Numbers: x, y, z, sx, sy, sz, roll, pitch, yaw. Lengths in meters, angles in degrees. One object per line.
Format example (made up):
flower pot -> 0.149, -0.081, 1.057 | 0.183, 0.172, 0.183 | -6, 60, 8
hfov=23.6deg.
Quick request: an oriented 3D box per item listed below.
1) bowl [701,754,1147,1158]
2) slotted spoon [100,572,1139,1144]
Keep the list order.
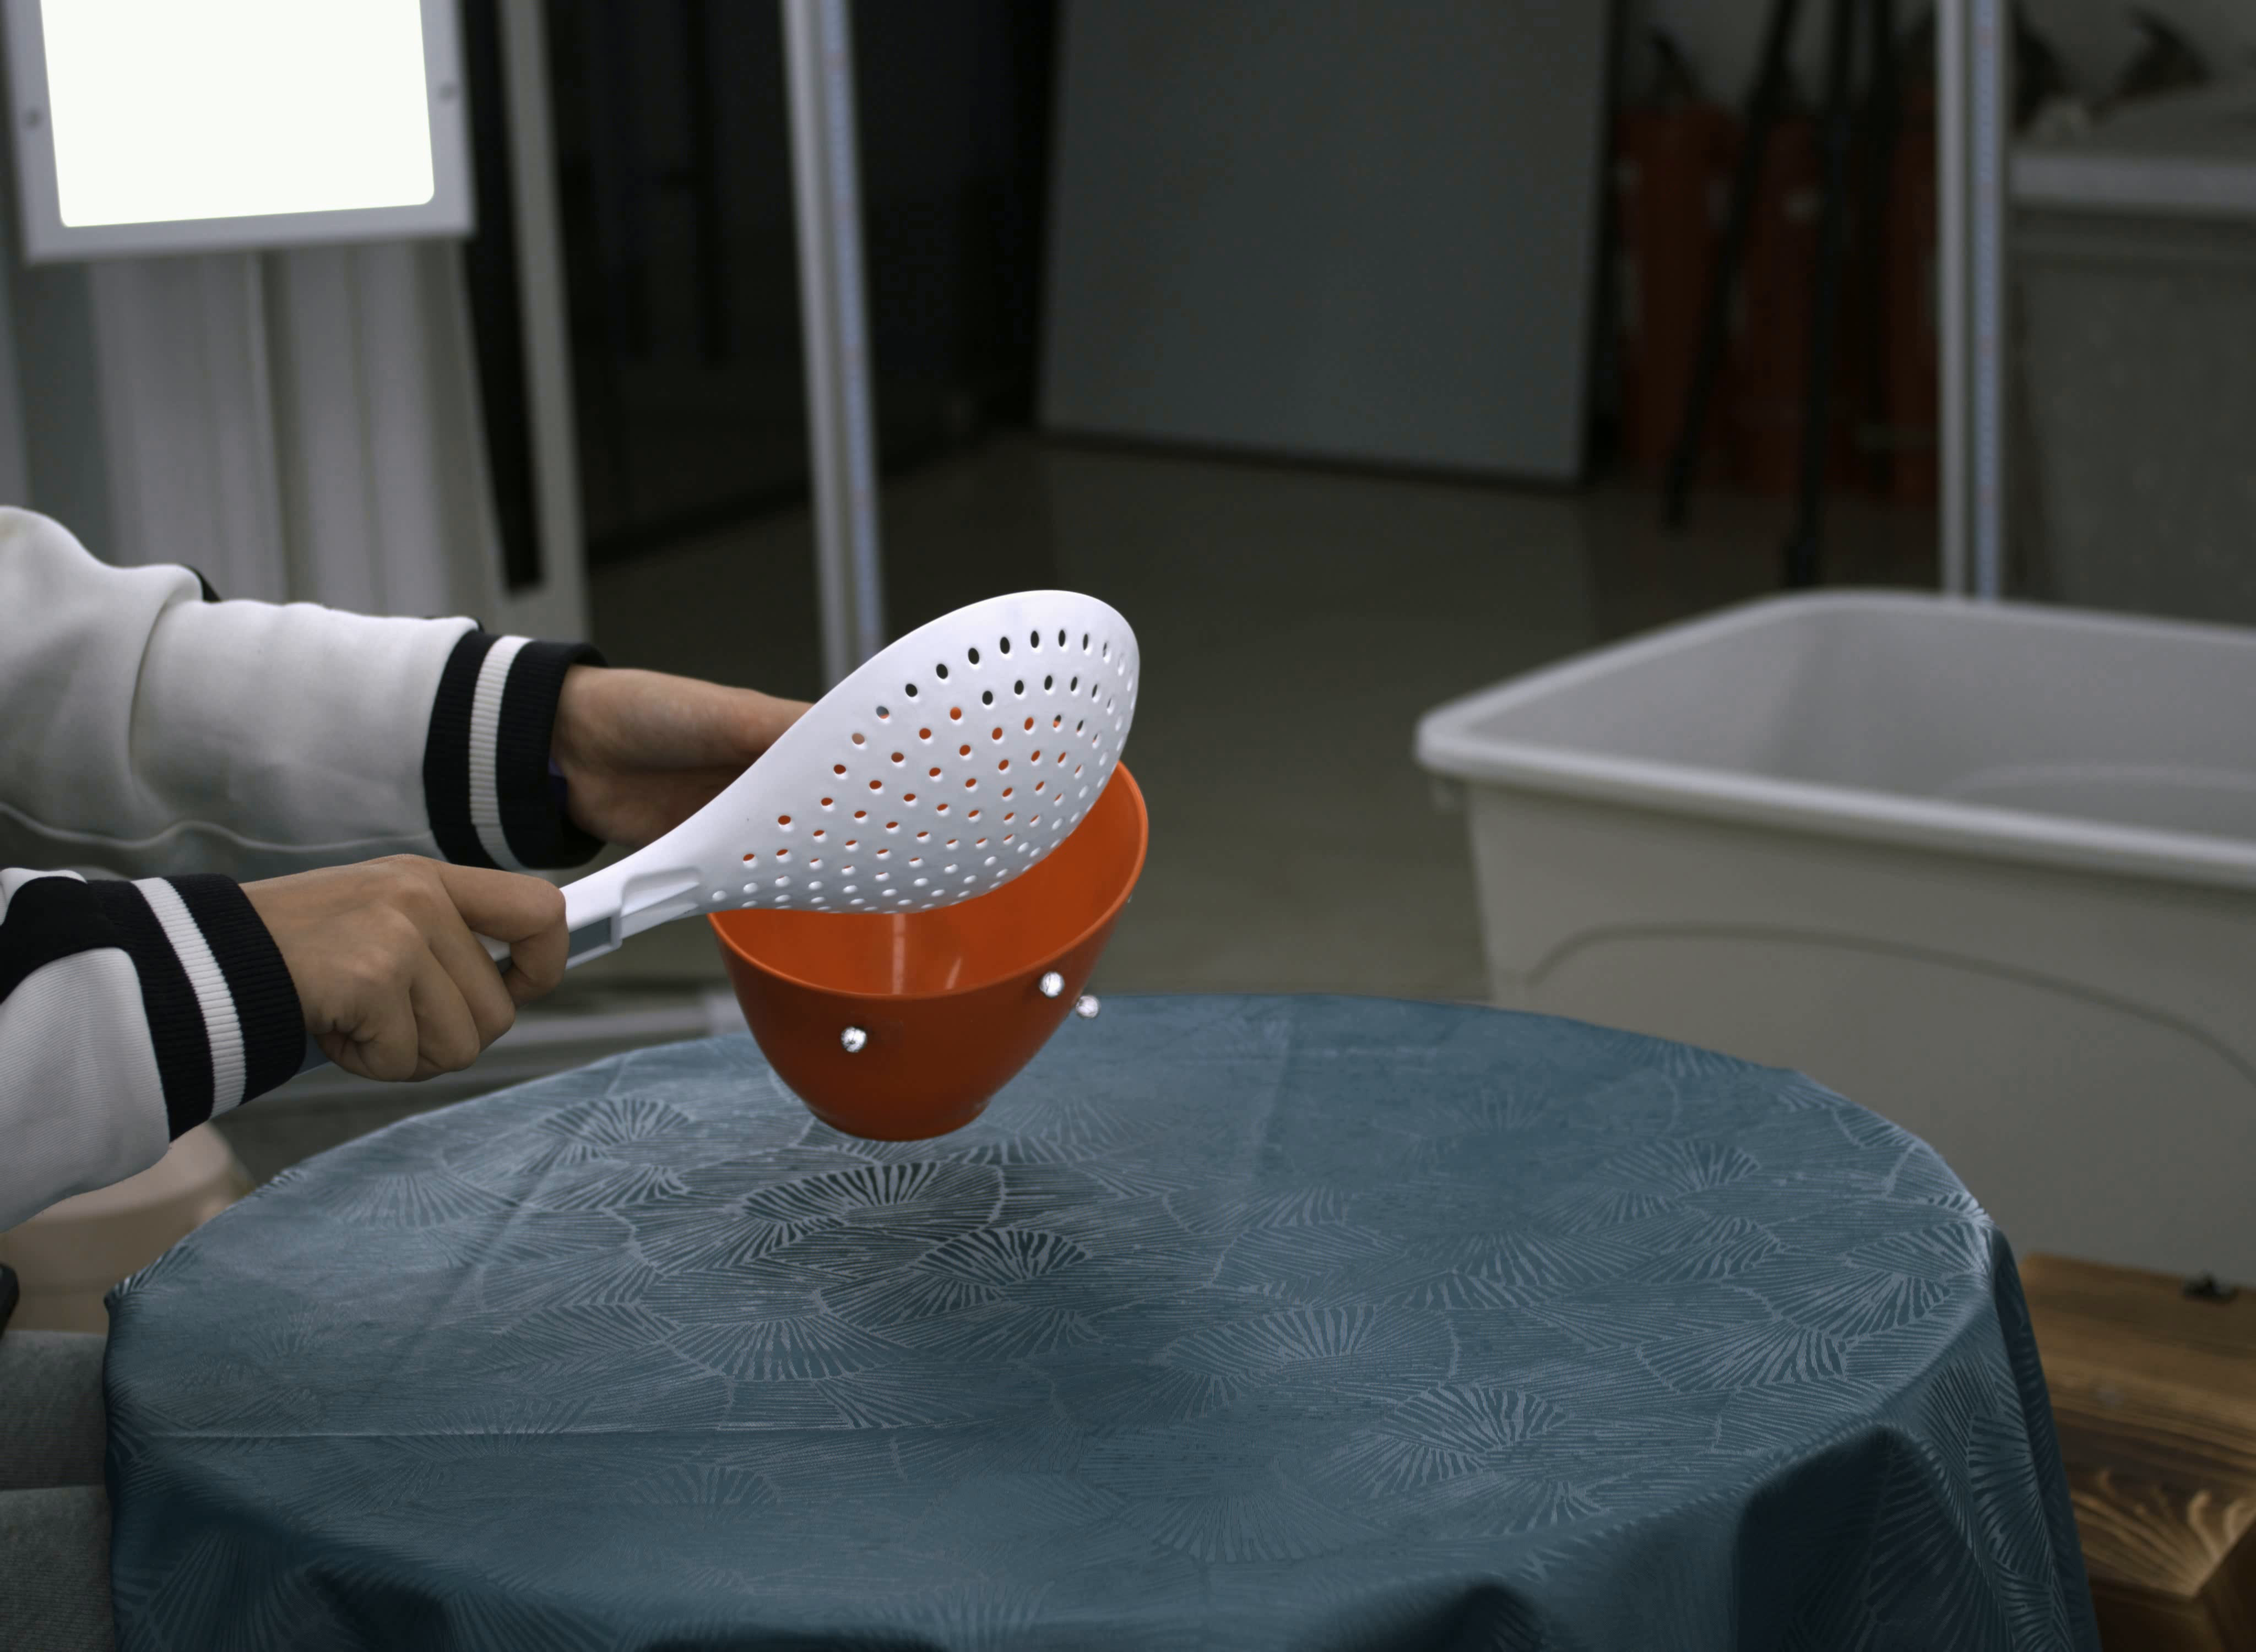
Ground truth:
bowl -> -0.066, 0.044, 1.779 | 0.146, 0.105, 0.149 | -1, 33, 0
slotted spoon -> -0.145, 0.018, 1.625 | 0.344, 0.136, 0.046 | -19, 55, -16
